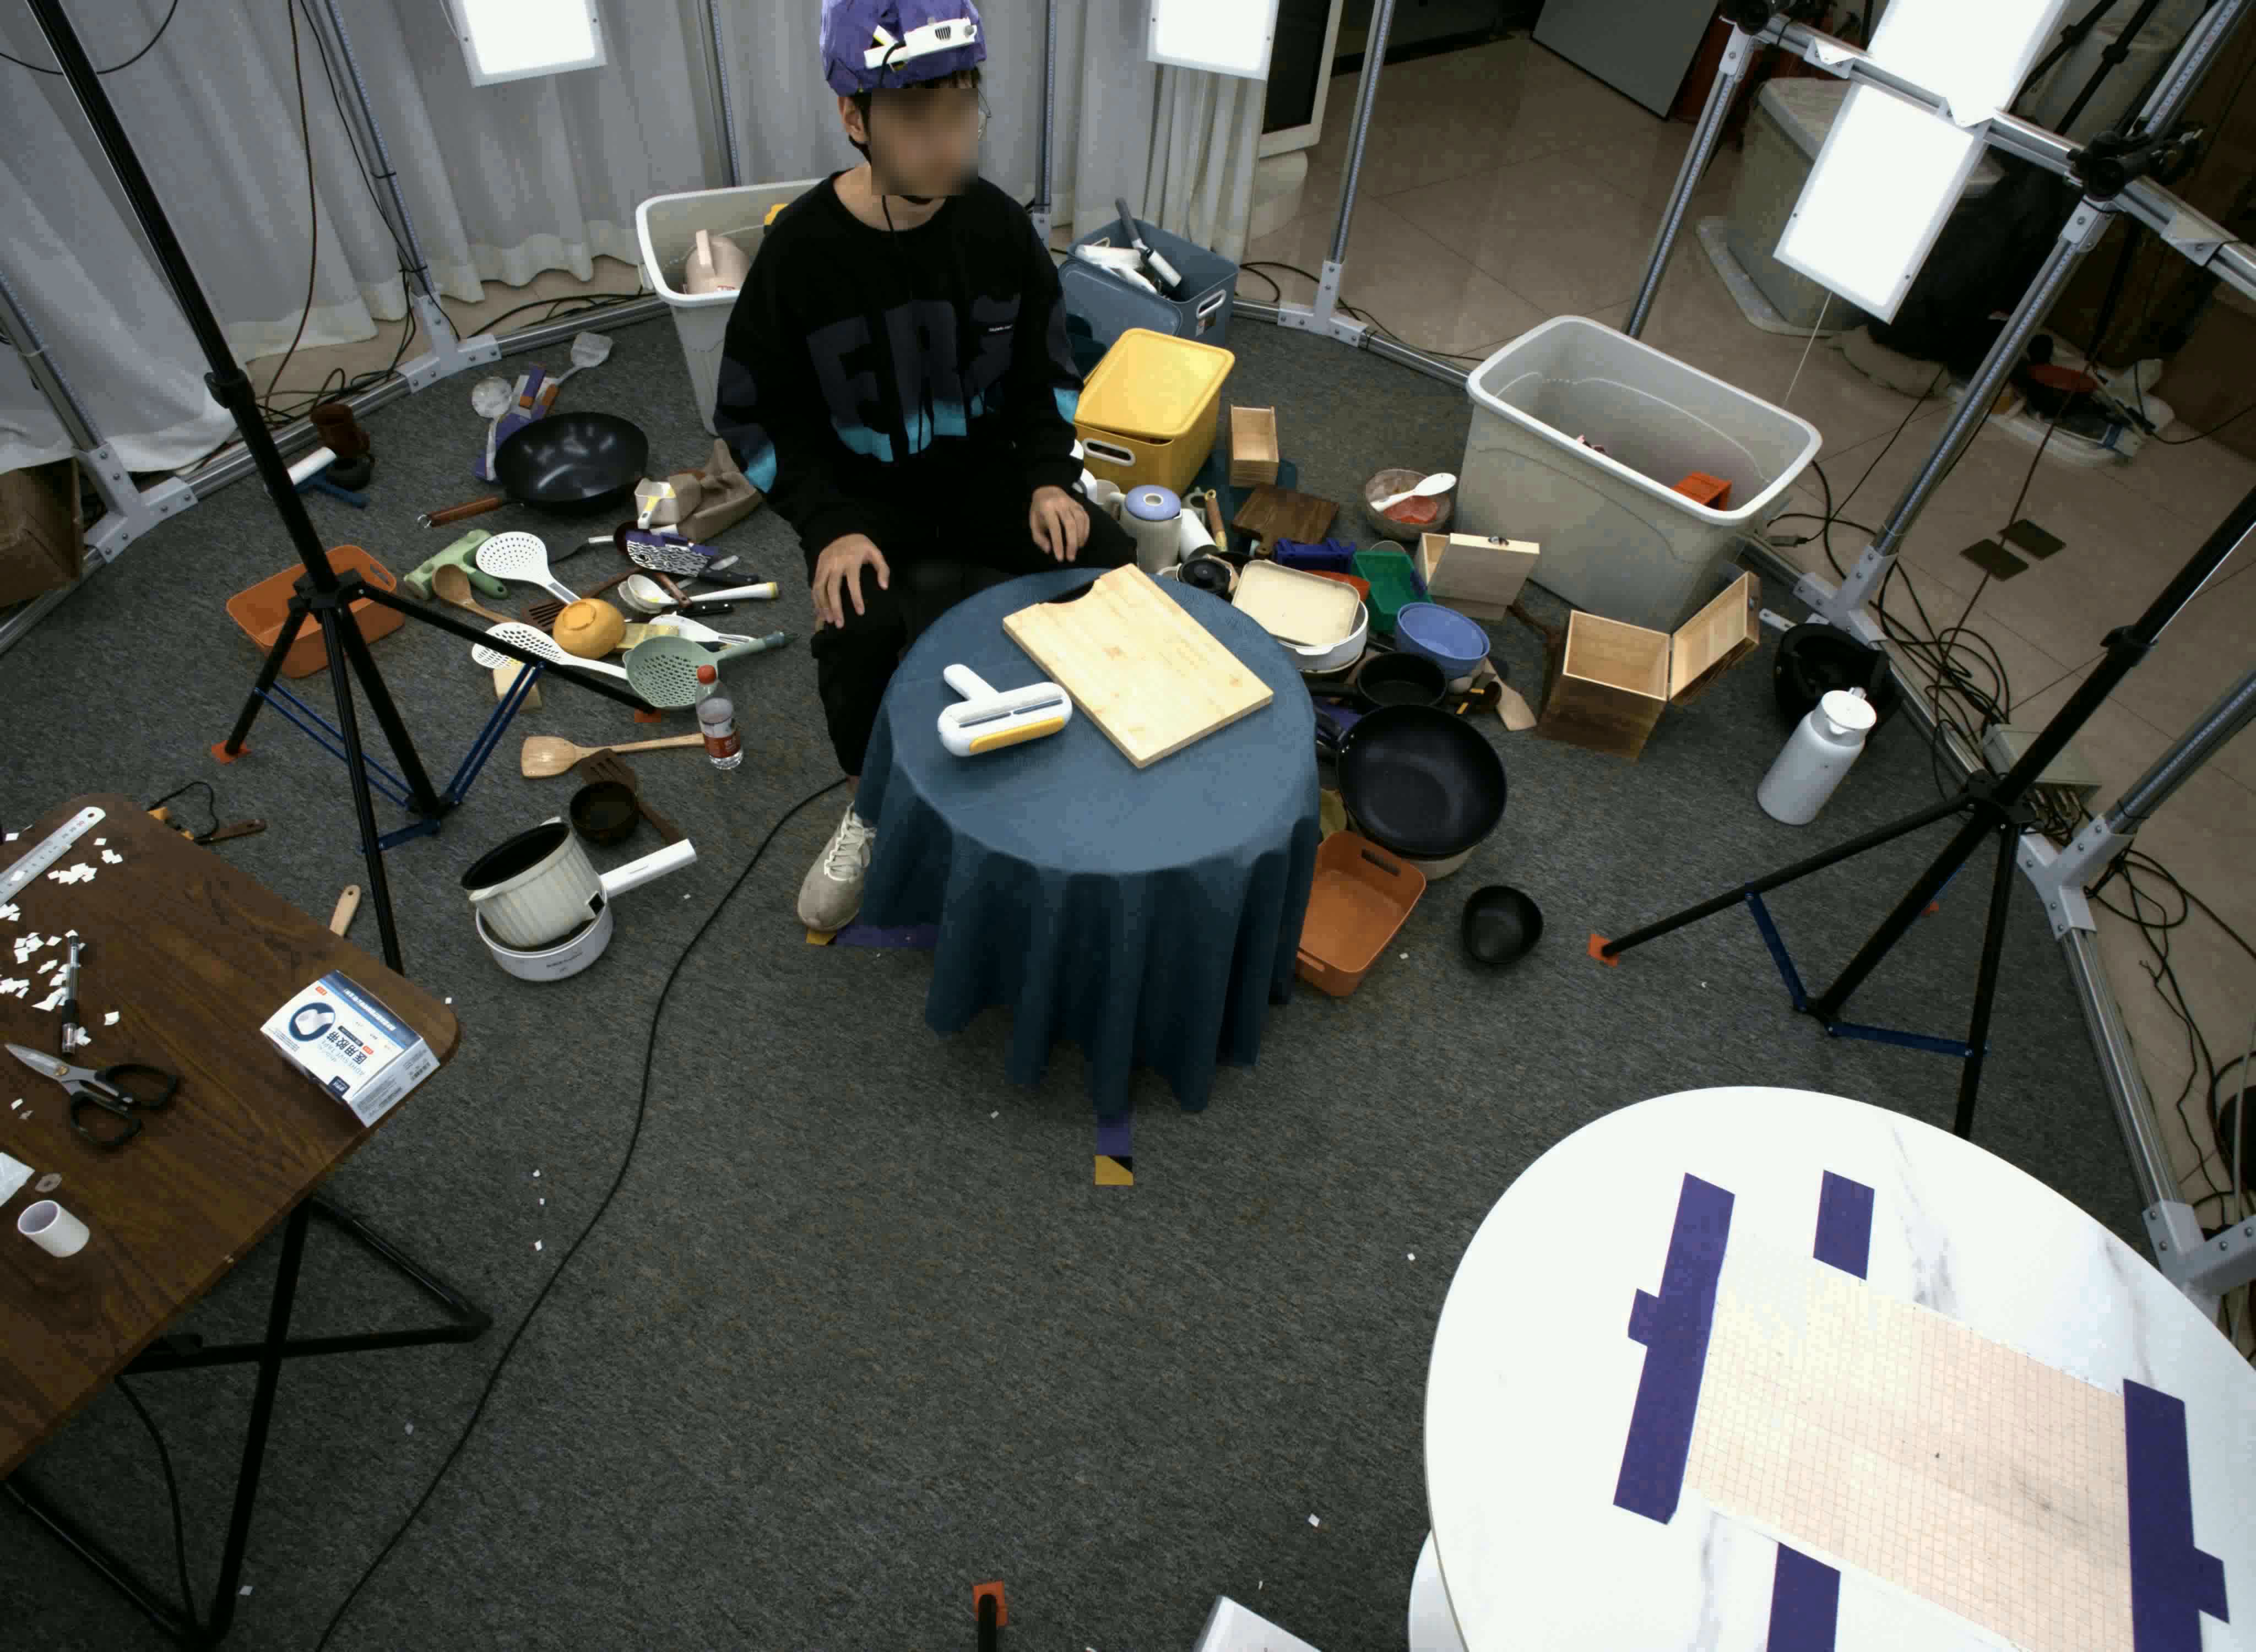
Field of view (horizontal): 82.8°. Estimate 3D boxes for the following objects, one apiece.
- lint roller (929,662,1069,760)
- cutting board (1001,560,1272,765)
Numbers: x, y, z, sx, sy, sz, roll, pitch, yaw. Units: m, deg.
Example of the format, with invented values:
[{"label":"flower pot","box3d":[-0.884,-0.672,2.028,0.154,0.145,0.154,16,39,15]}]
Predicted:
[{"label":"lint roller","box3d":[-0.199,-0.176,1.765,0.193,0.072,0.196,-17,50,-24]},{"label":"cutting board","box3d":[0.008,-0.246,1.872,0.252,0.023,0.355,-28,56,-25]}]
